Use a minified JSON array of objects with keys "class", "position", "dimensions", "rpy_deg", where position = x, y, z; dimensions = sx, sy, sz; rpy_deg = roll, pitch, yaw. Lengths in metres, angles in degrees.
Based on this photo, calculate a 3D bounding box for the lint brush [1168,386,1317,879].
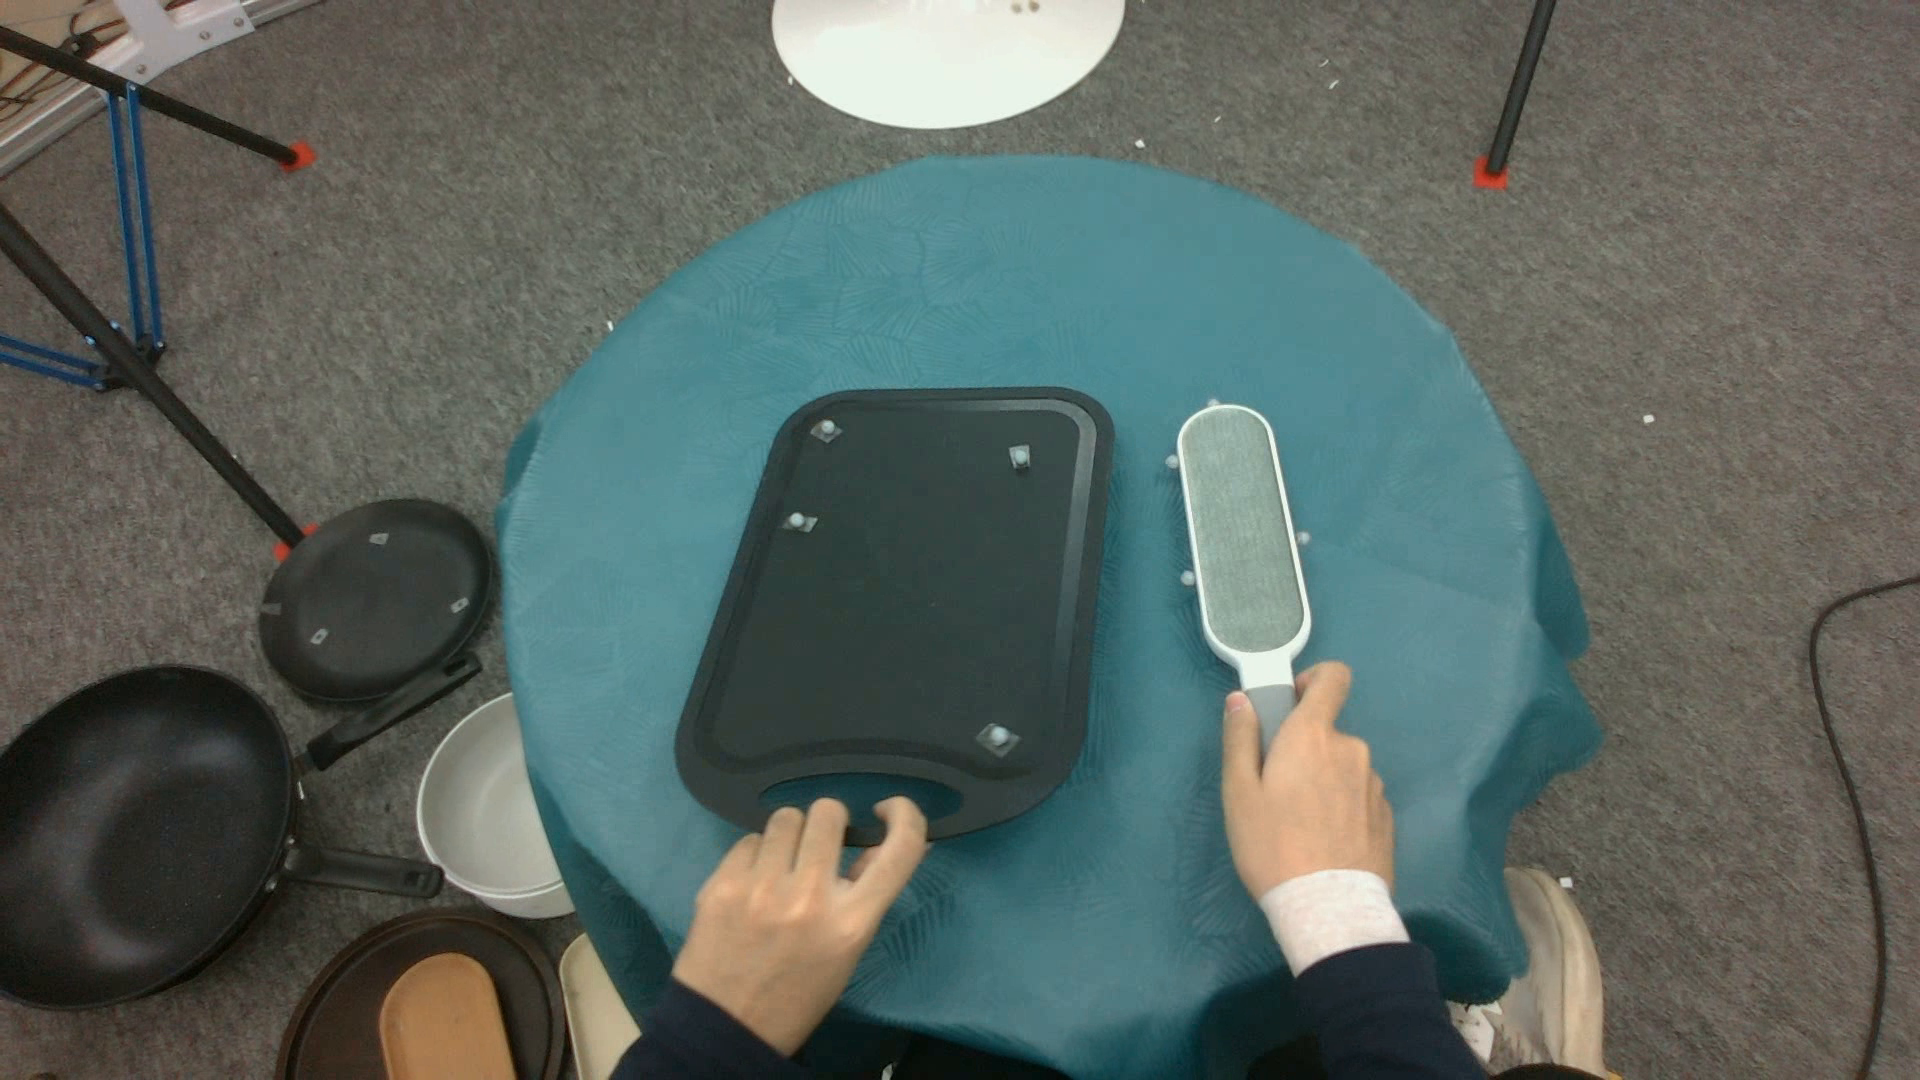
[{"class":"lint brush","position":[0.151,0.033,0.733],"dimensions":[0.060,0.021,0.310],"rpy_deg":[-4,52,4]}]

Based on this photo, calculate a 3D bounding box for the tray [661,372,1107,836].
[{"class":"tray","position":[-0.033,0.016,0.743],"dimensions":[0.211,0.010,0.327],"rpy_deg":[1,47,11]}]
